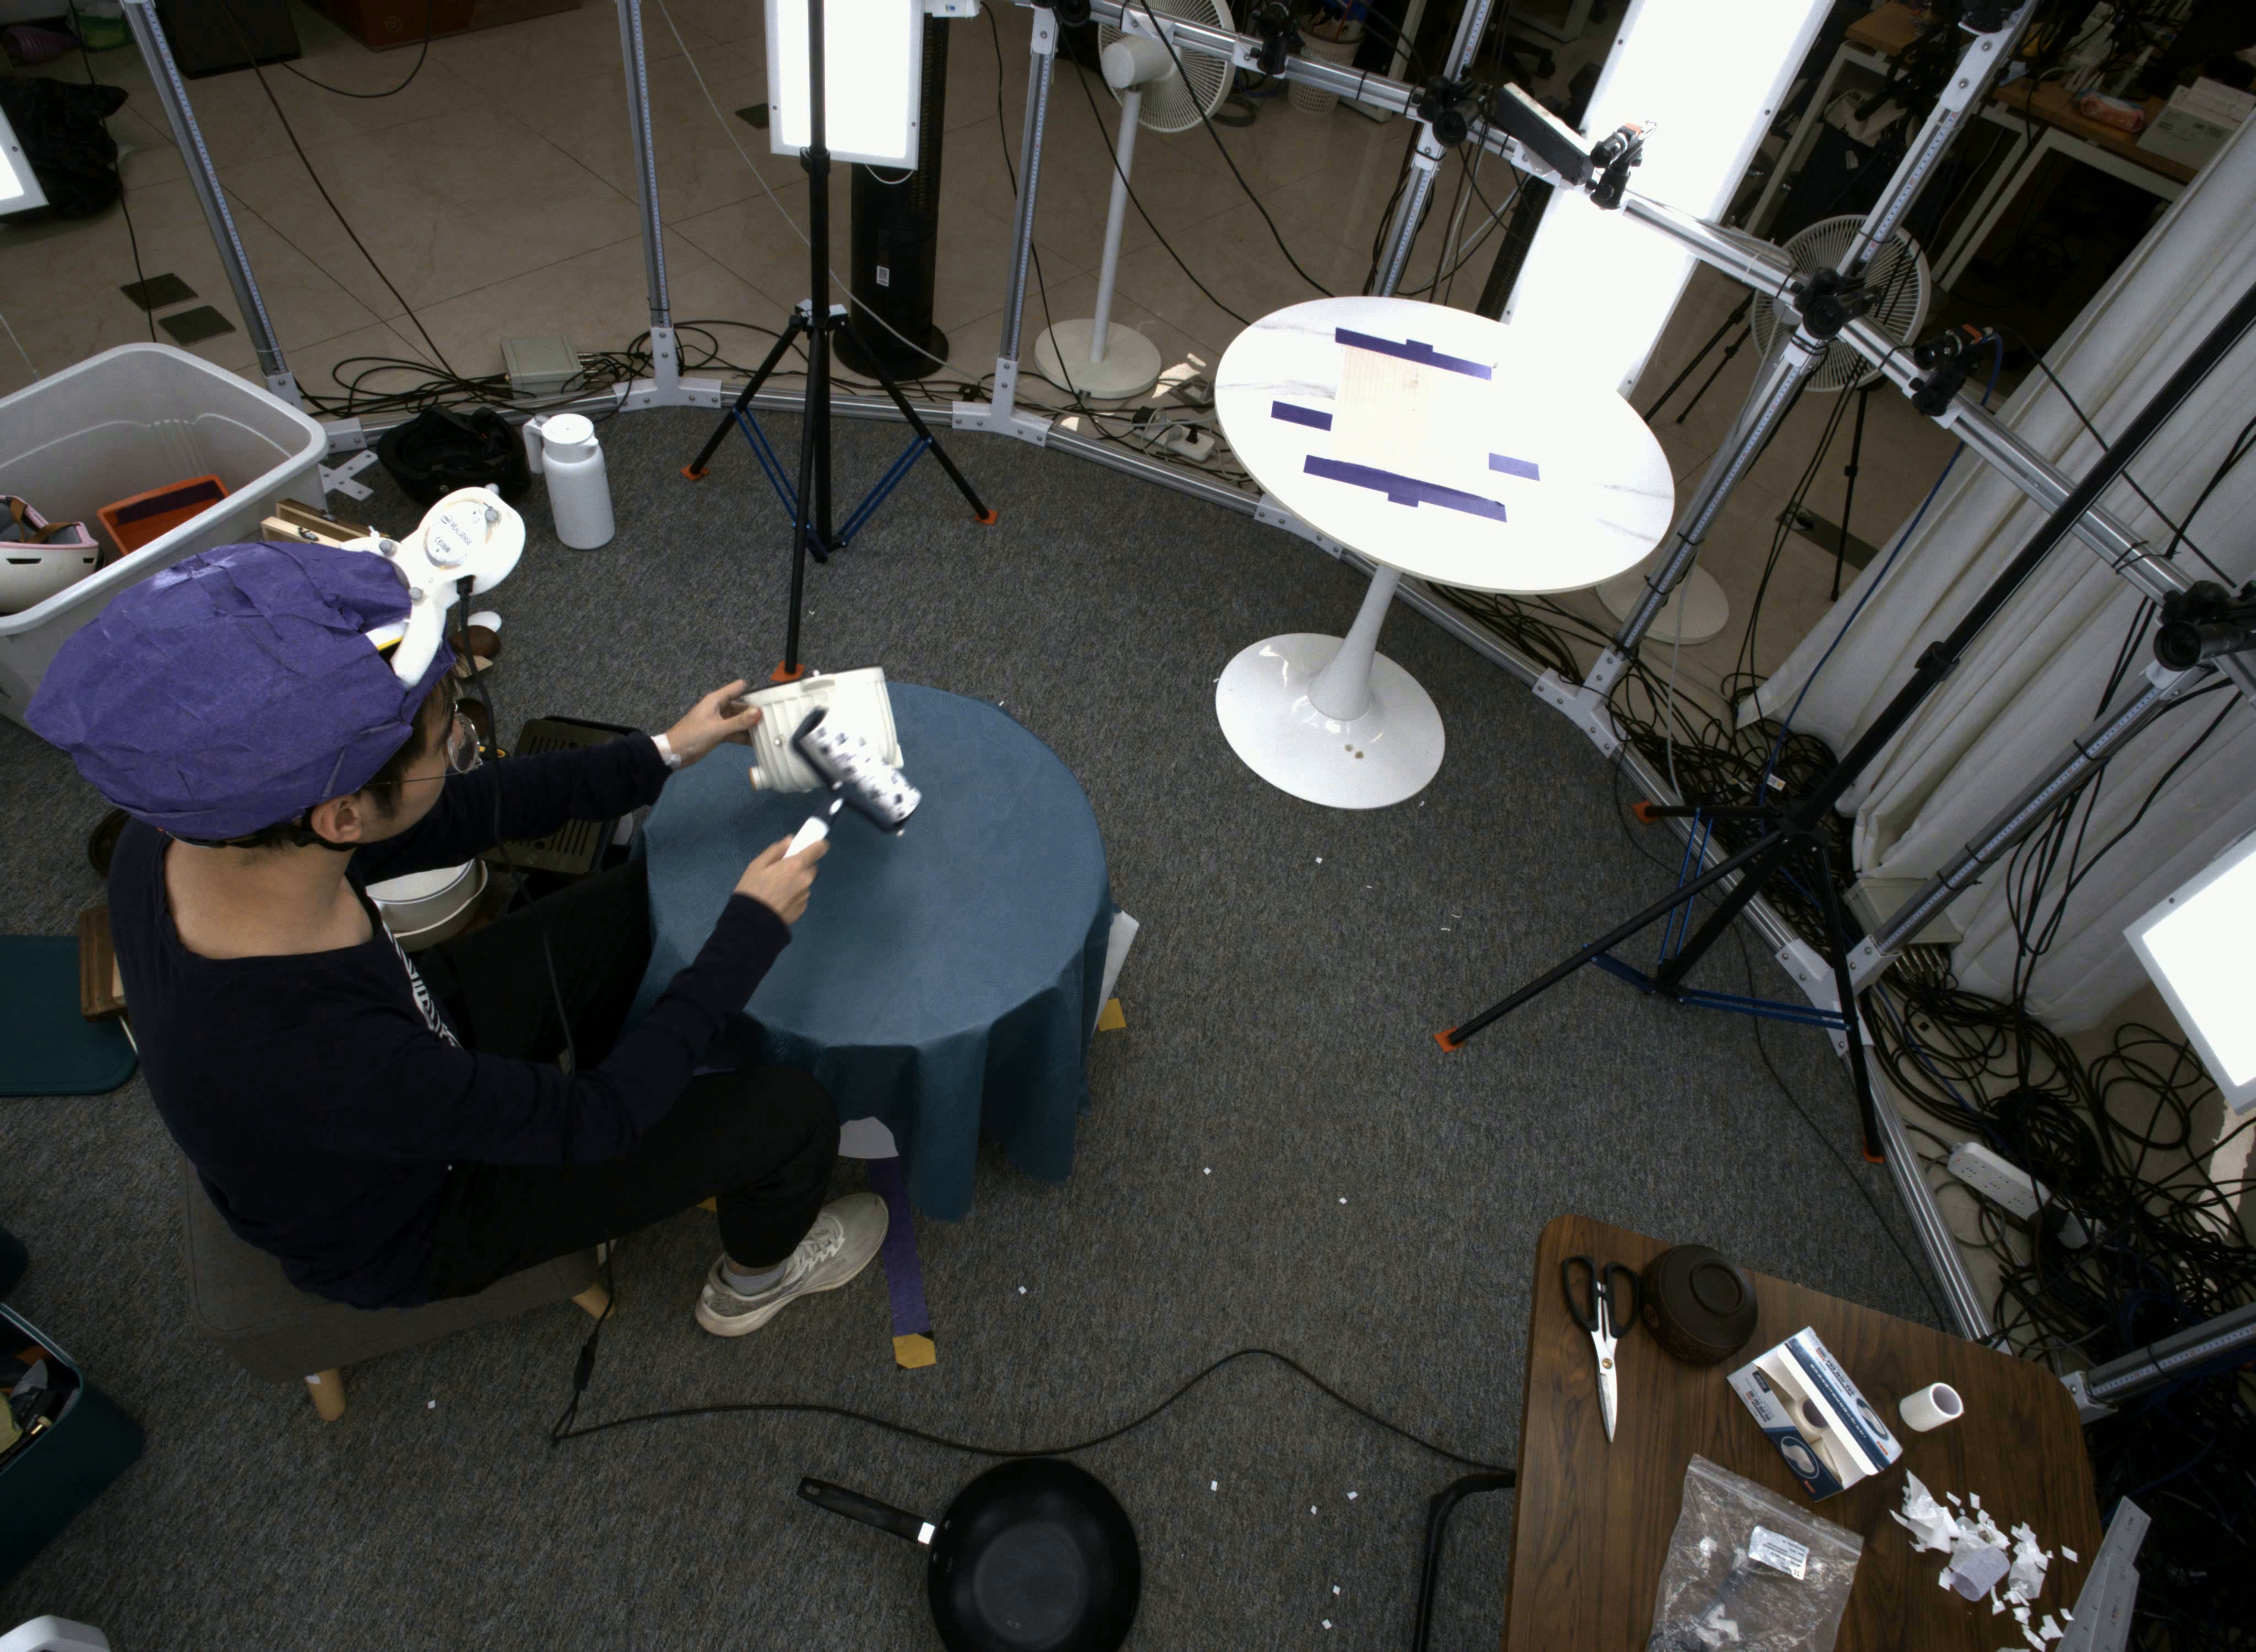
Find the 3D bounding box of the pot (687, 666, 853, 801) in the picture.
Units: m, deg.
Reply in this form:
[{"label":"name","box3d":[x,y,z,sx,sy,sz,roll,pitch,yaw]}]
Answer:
[{"label":"pot","box3d":[-0.452,-0.111,1.621,0.191,0.235,0.145,-13,95,-19]}]

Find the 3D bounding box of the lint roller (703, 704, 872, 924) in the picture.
[{"label":"lint roller","box3d":[-0.416,0.006,1.504,0.049,0.183,0.246,1,55,44]}]
